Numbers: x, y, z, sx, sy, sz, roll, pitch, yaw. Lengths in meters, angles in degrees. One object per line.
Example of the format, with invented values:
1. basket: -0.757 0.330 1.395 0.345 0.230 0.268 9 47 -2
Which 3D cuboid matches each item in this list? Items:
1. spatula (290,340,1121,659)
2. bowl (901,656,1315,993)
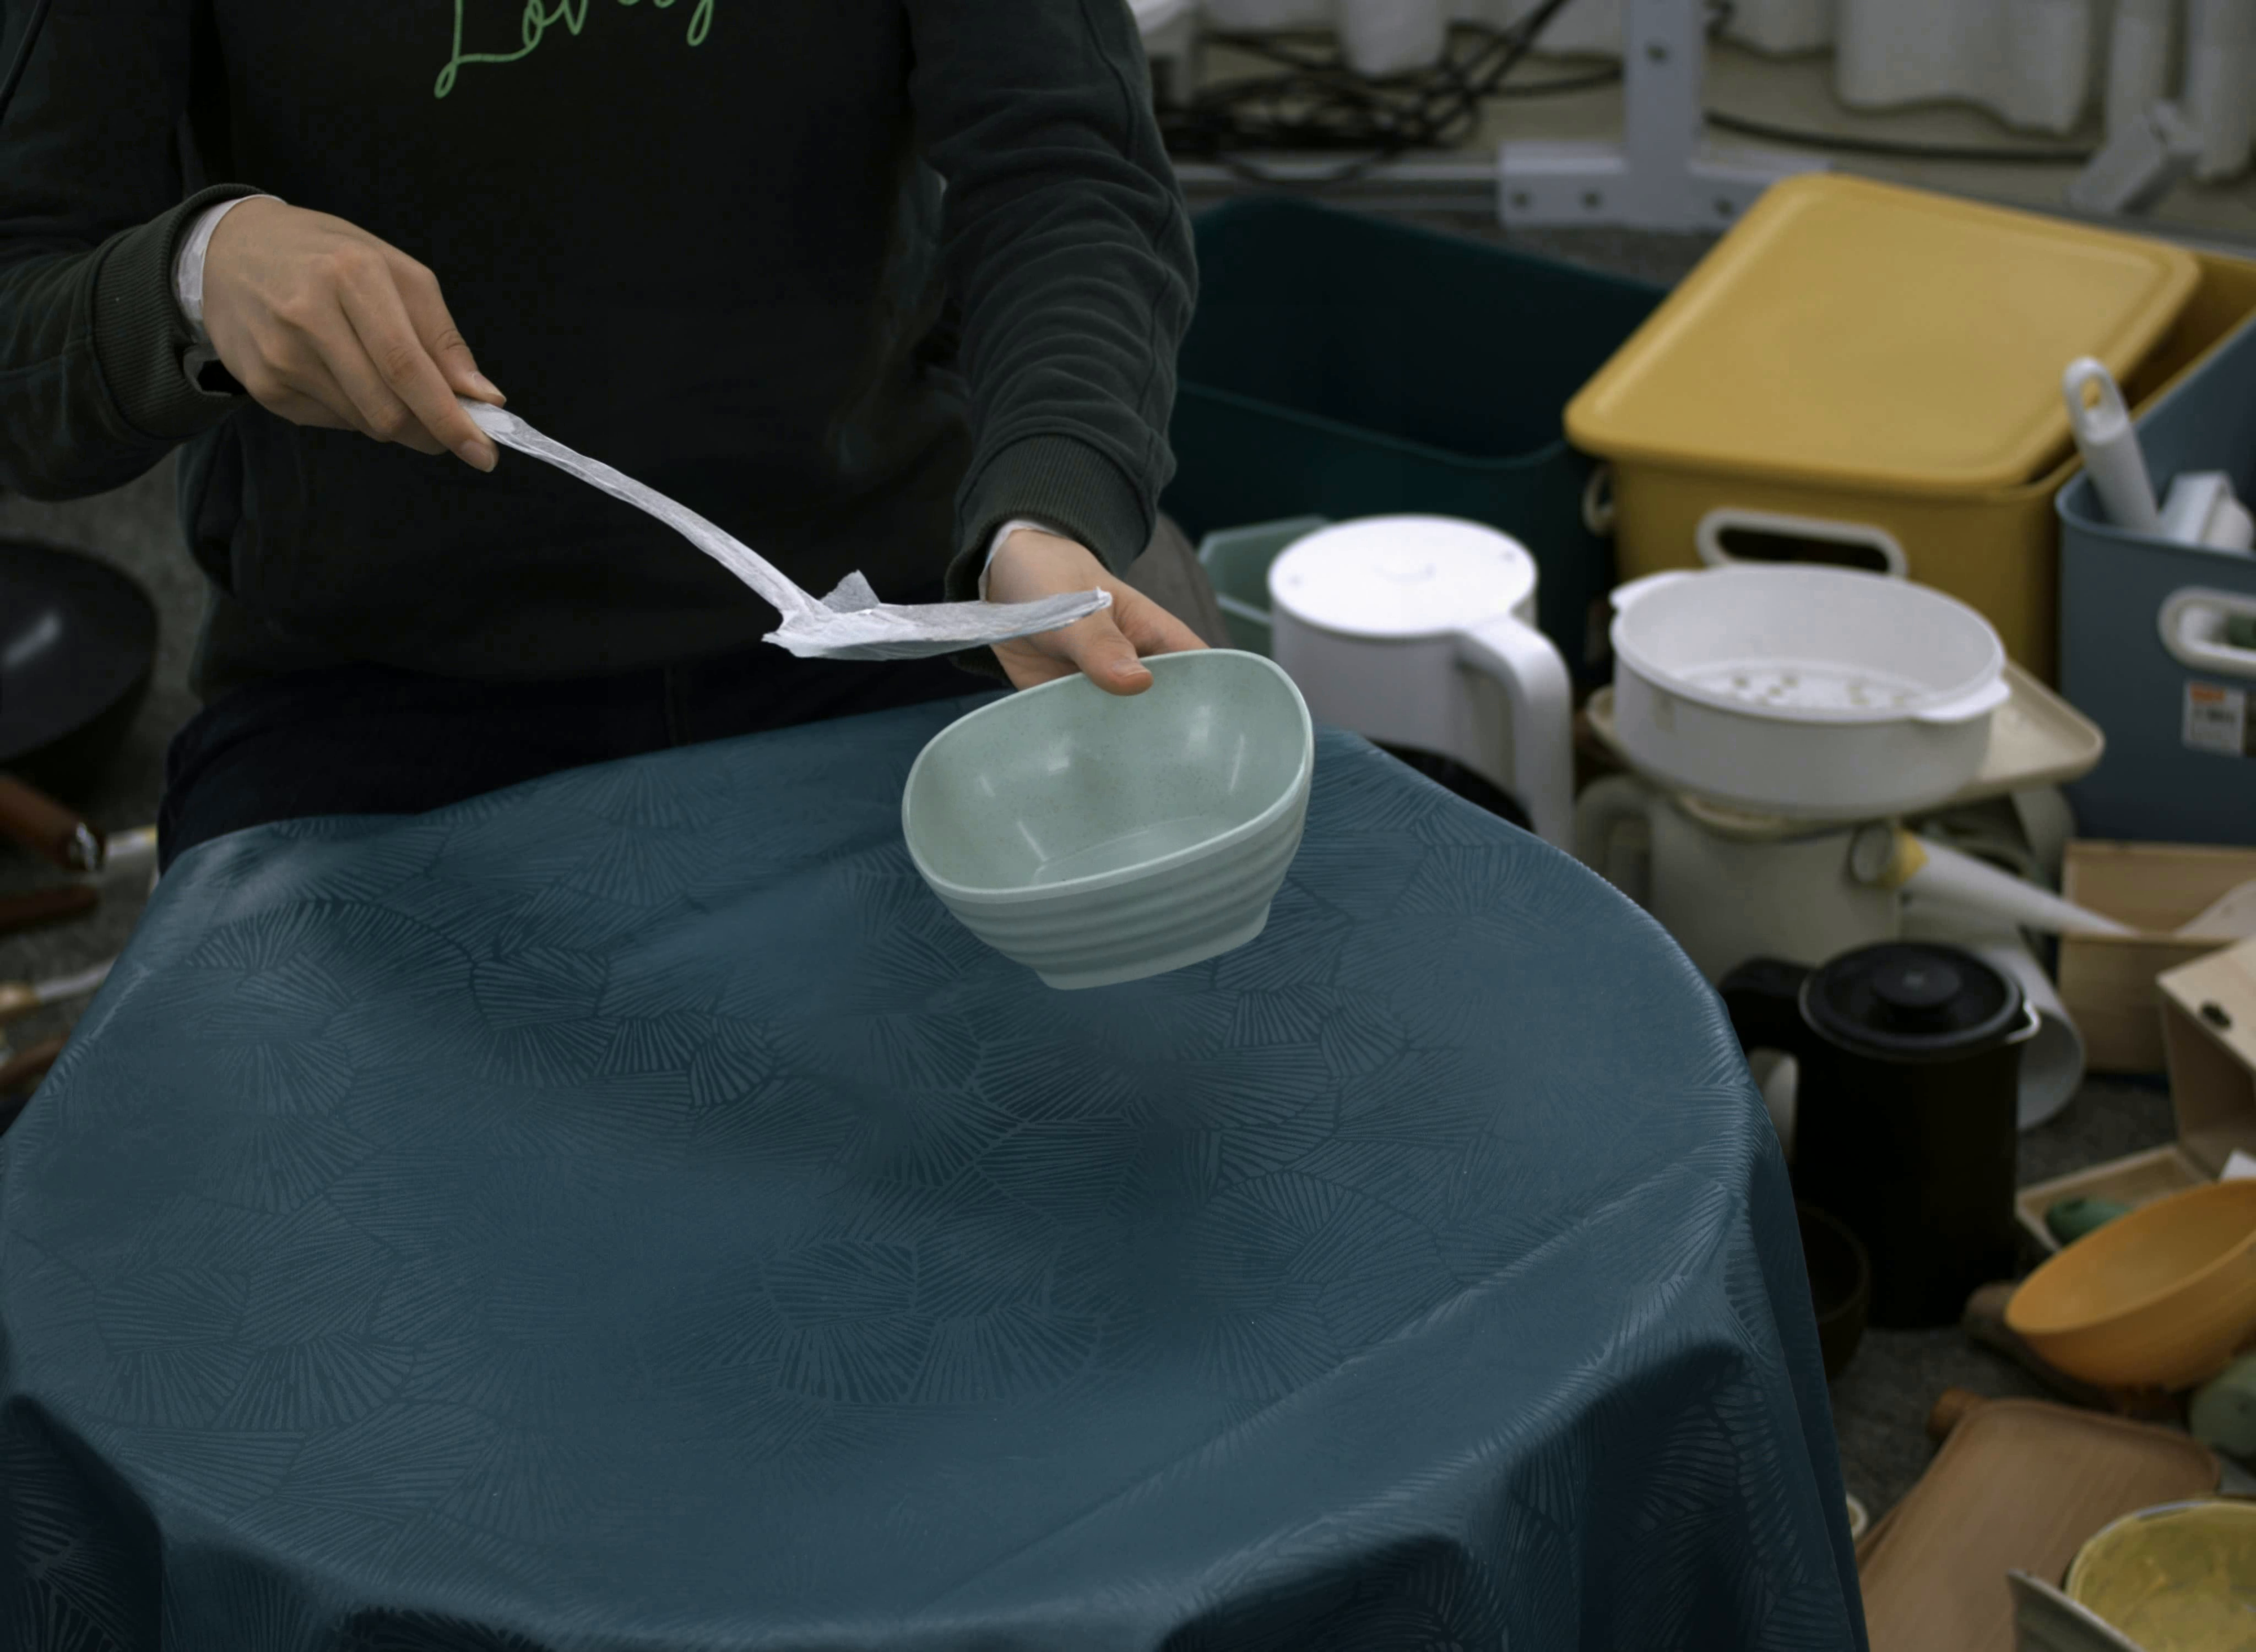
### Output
1. spatula: -0.161 -0.116 1.875 0.365 0.044 0.099 27 28 33
2. bowl: -0.001 0.006 1.855 0.150 0.058 0.154 -11 29 6
